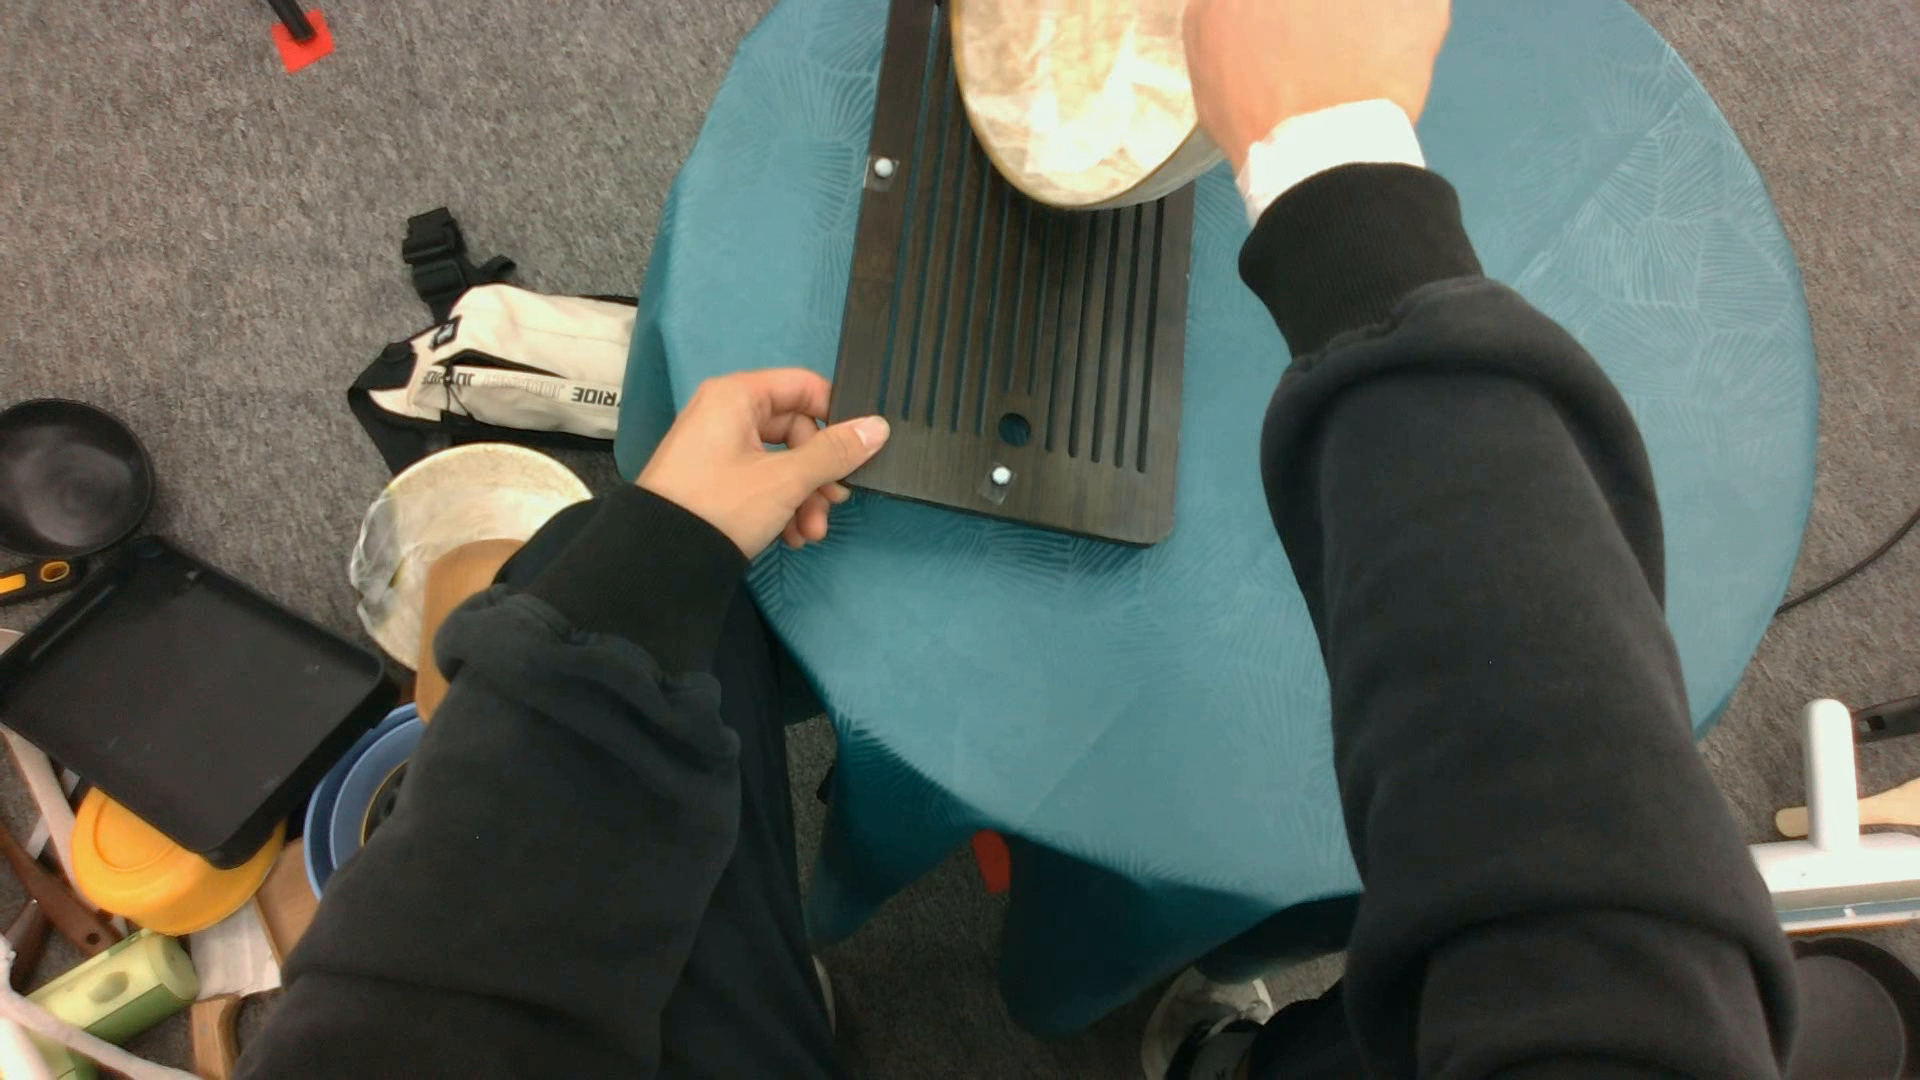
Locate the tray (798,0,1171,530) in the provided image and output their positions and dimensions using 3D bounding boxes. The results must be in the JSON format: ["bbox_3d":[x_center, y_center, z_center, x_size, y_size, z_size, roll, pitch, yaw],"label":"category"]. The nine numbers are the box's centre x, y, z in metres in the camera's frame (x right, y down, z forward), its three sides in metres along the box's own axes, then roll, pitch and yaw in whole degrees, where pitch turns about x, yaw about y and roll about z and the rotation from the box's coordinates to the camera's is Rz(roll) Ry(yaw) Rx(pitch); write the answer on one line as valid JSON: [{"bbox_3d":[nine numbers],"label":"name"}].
[{"bbox_3d":[0.021,-0.160,0.679,0.170,0.018,0.307,11,70,-14],"label":"tray"}]

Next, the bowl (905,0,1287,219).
[{"bbox_3d":[0.075,-0.252,0.626,0.095,0.213,0.215,-9,71,-39],"label":"bowl"}]
